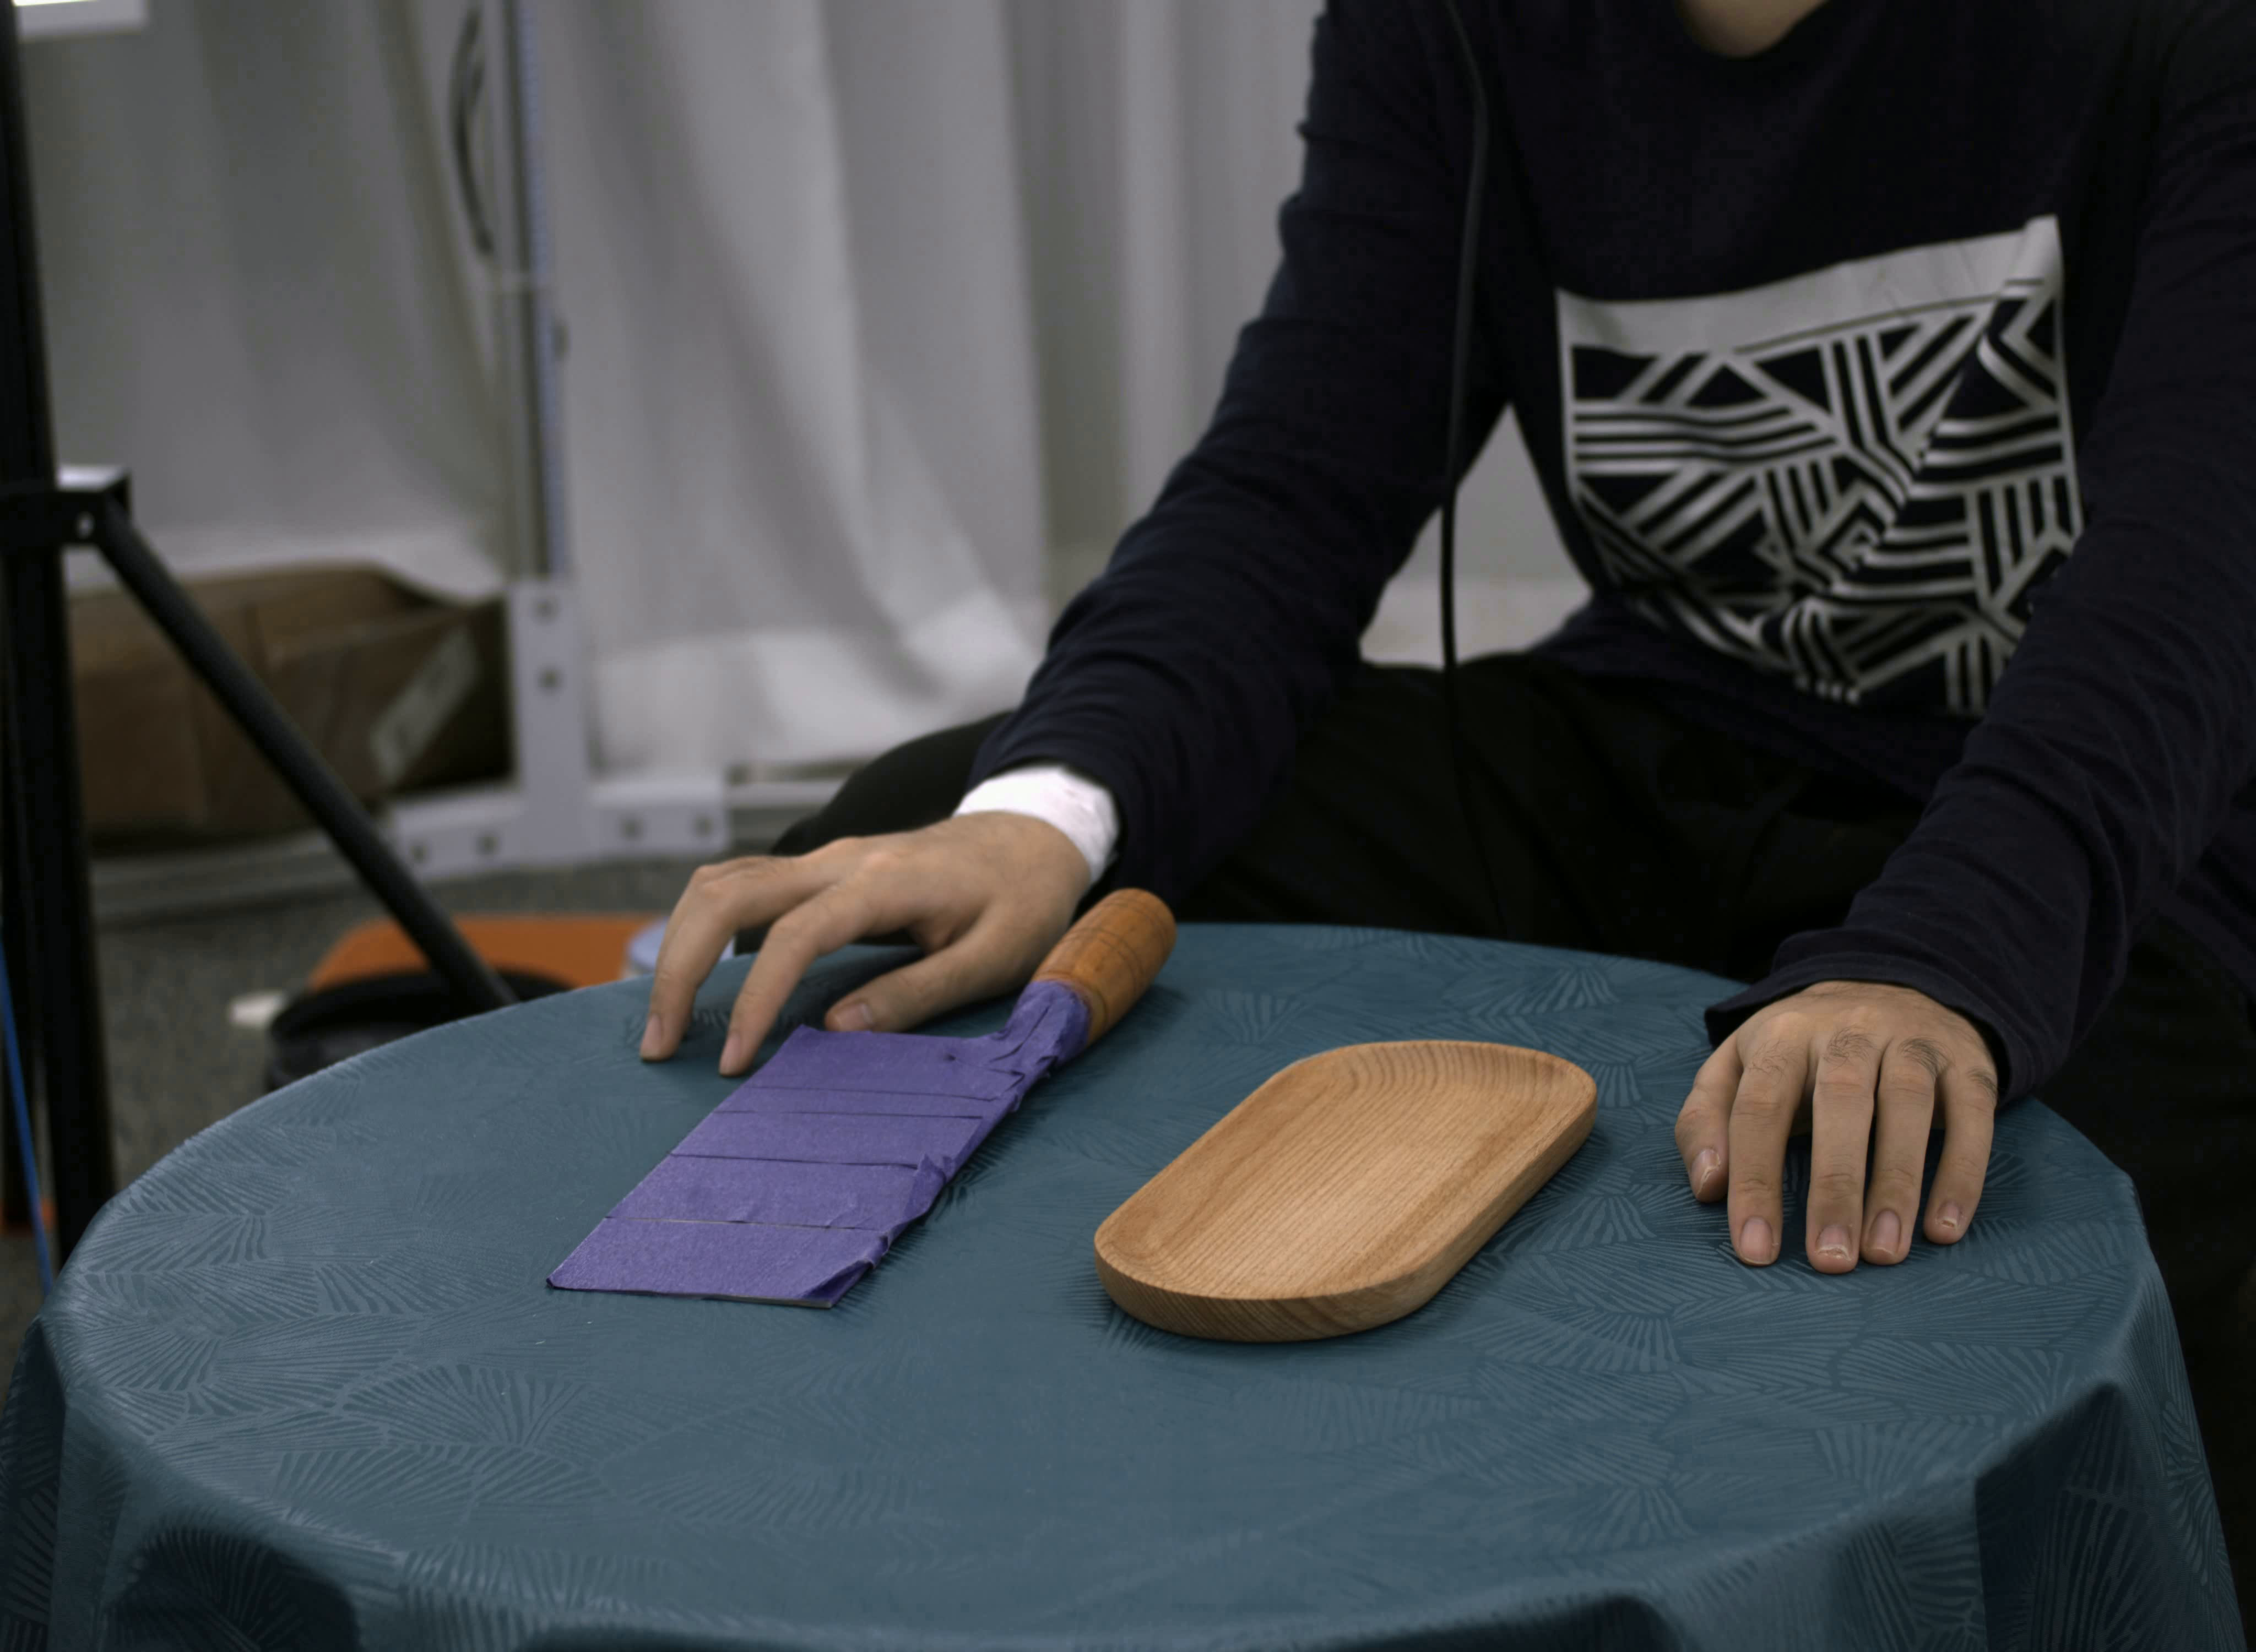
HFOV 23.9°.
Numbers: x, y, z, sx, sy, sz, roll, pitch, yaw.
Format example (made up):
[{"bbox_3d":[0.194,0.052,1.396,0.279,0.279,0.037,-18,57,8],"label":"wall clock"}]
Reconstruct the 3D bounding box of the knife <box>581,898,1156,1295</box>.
[{"bbox_3d":[-0.076,0.079,1.627,0.105,0.032,0.312,3,17,17],"label":"knife"}]

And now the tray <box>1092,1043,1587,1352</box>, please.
[{"bbox_3d":[0.064,0.105,1.533,0.103,0.020,0.228,3,18,21],"label":"tray"}]
